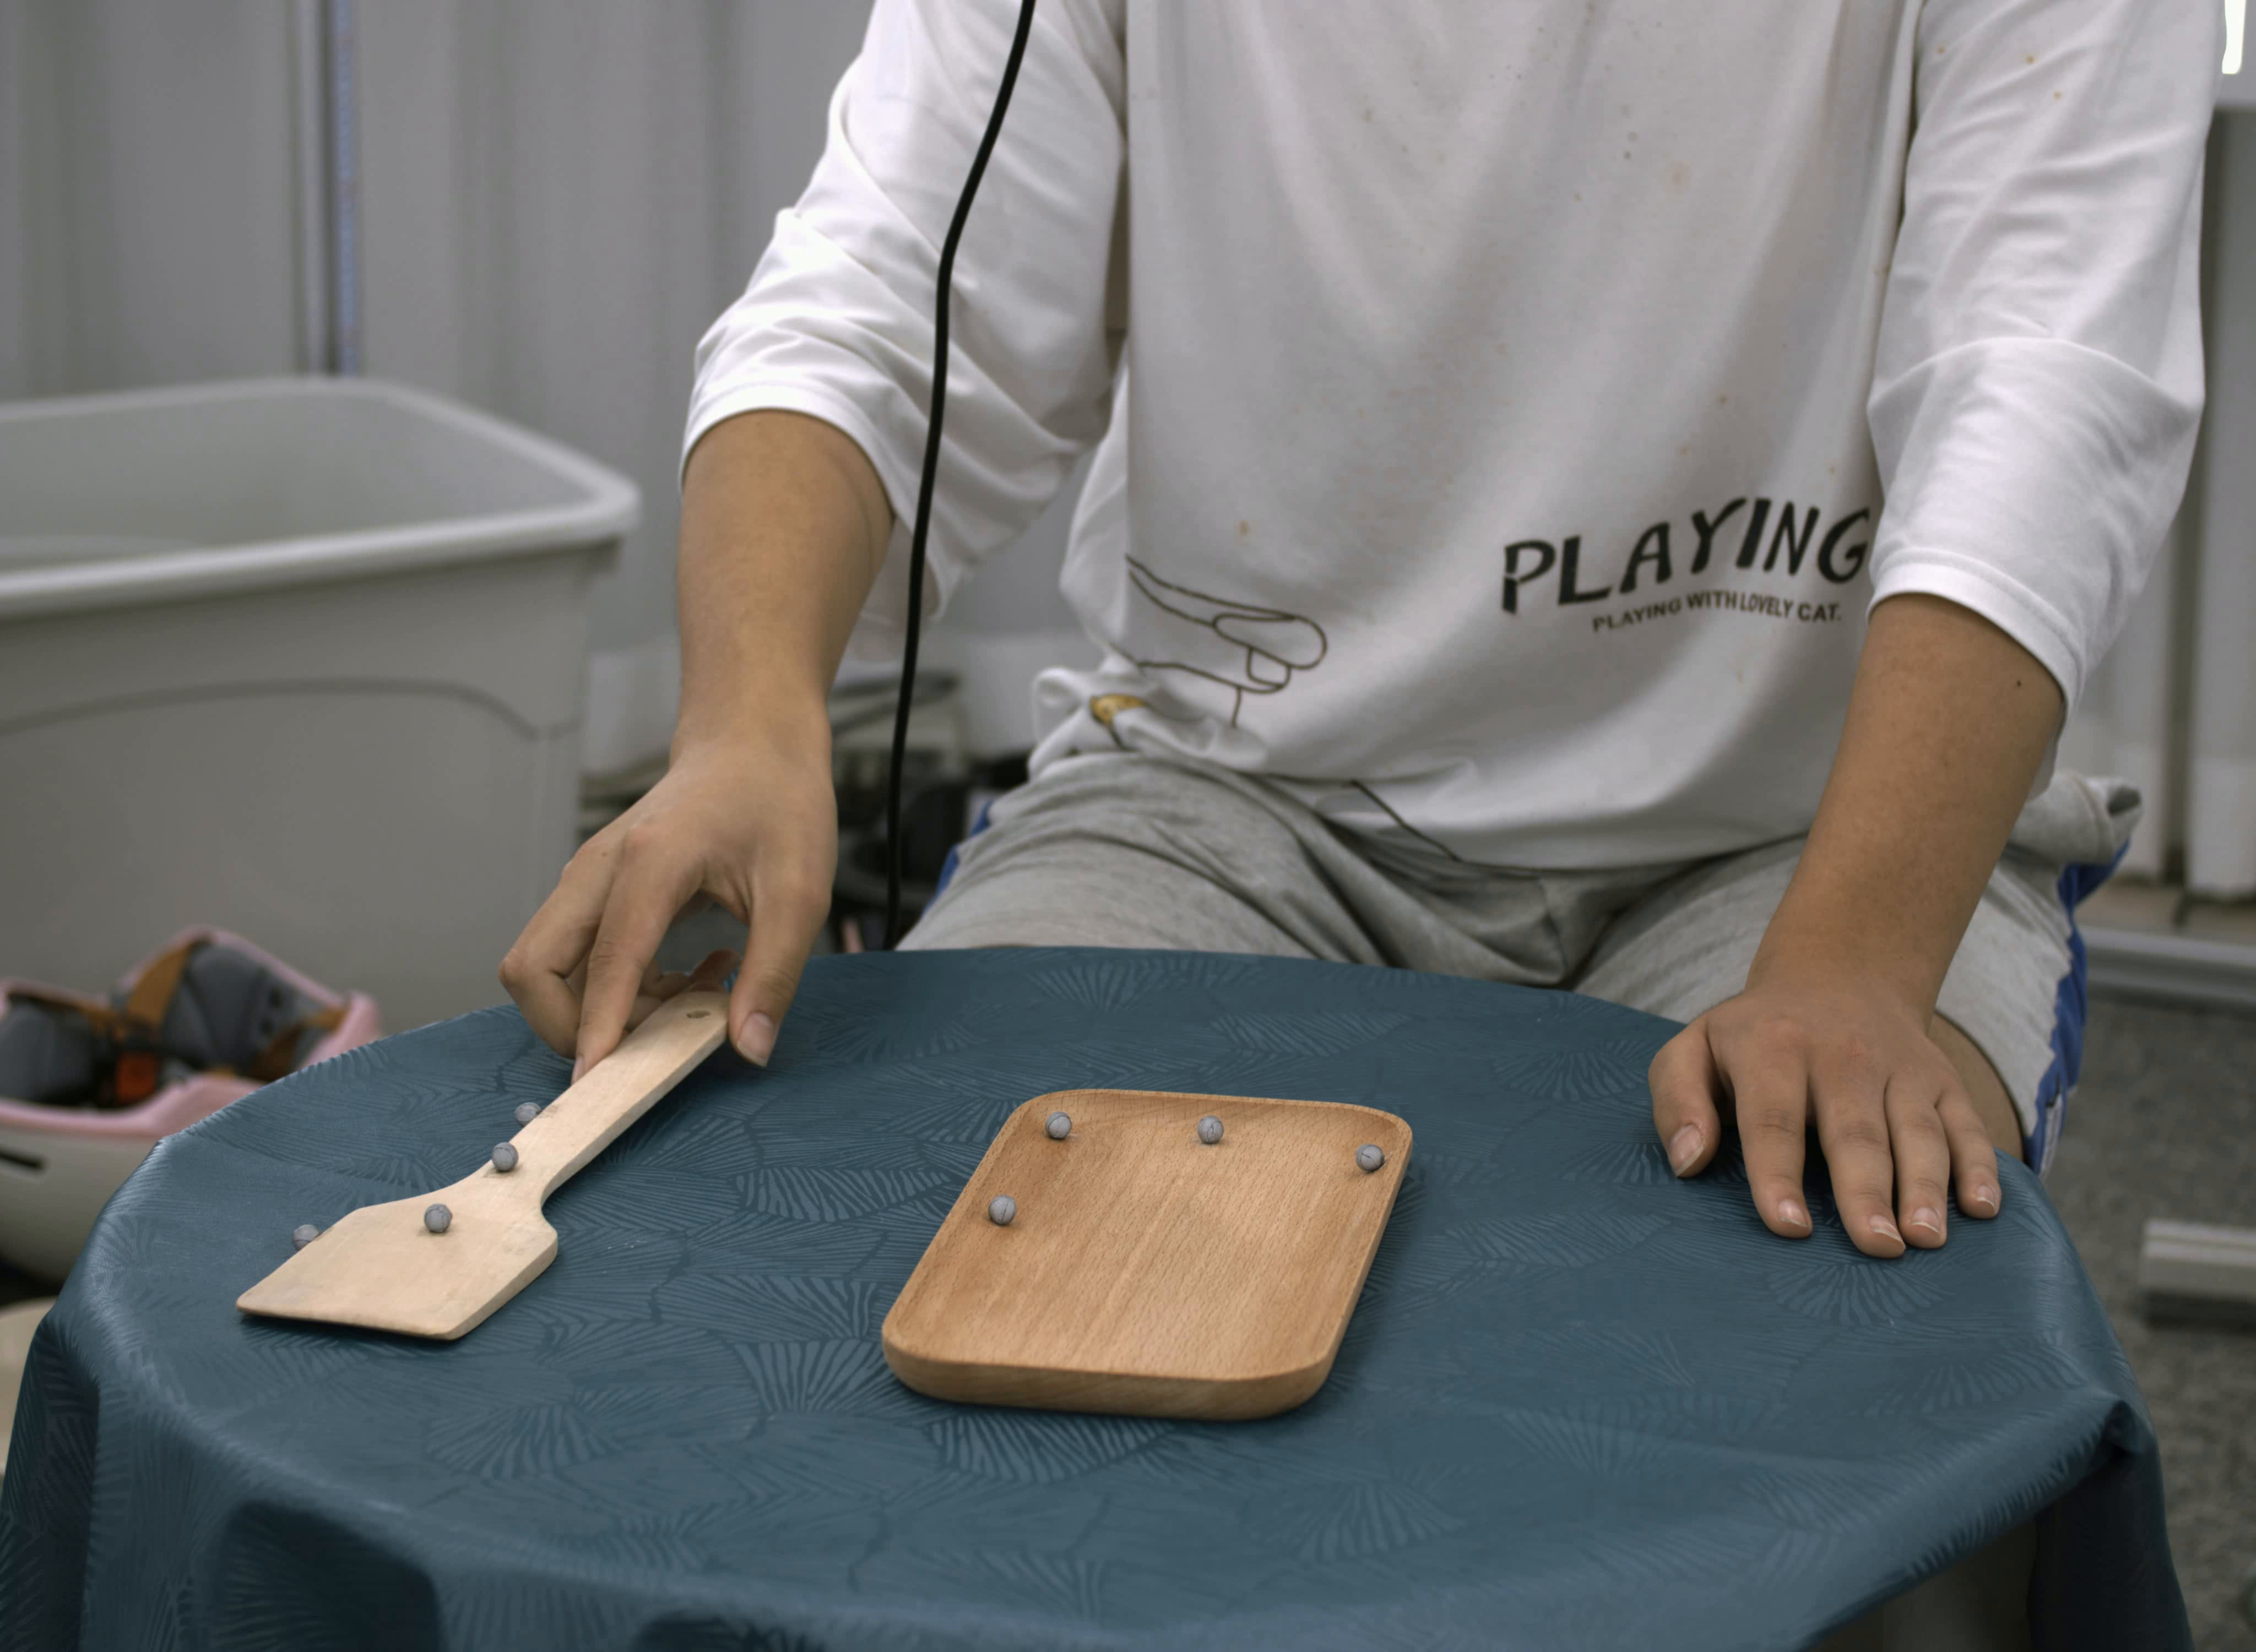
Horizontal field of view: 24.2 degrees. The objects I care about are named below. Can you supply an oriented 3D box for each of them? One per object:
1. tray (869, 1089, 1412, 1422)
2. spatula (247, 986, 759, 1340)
[{"bbox_3d":[0.008,0.124,1.558,0.129,0.023,0.250,1,16,11],"label":"tray"},{"bbox_3d":[-0.179,0.100,1.631,0.071,0.011,0.293,6,19,17],"label":"spatula"}]
